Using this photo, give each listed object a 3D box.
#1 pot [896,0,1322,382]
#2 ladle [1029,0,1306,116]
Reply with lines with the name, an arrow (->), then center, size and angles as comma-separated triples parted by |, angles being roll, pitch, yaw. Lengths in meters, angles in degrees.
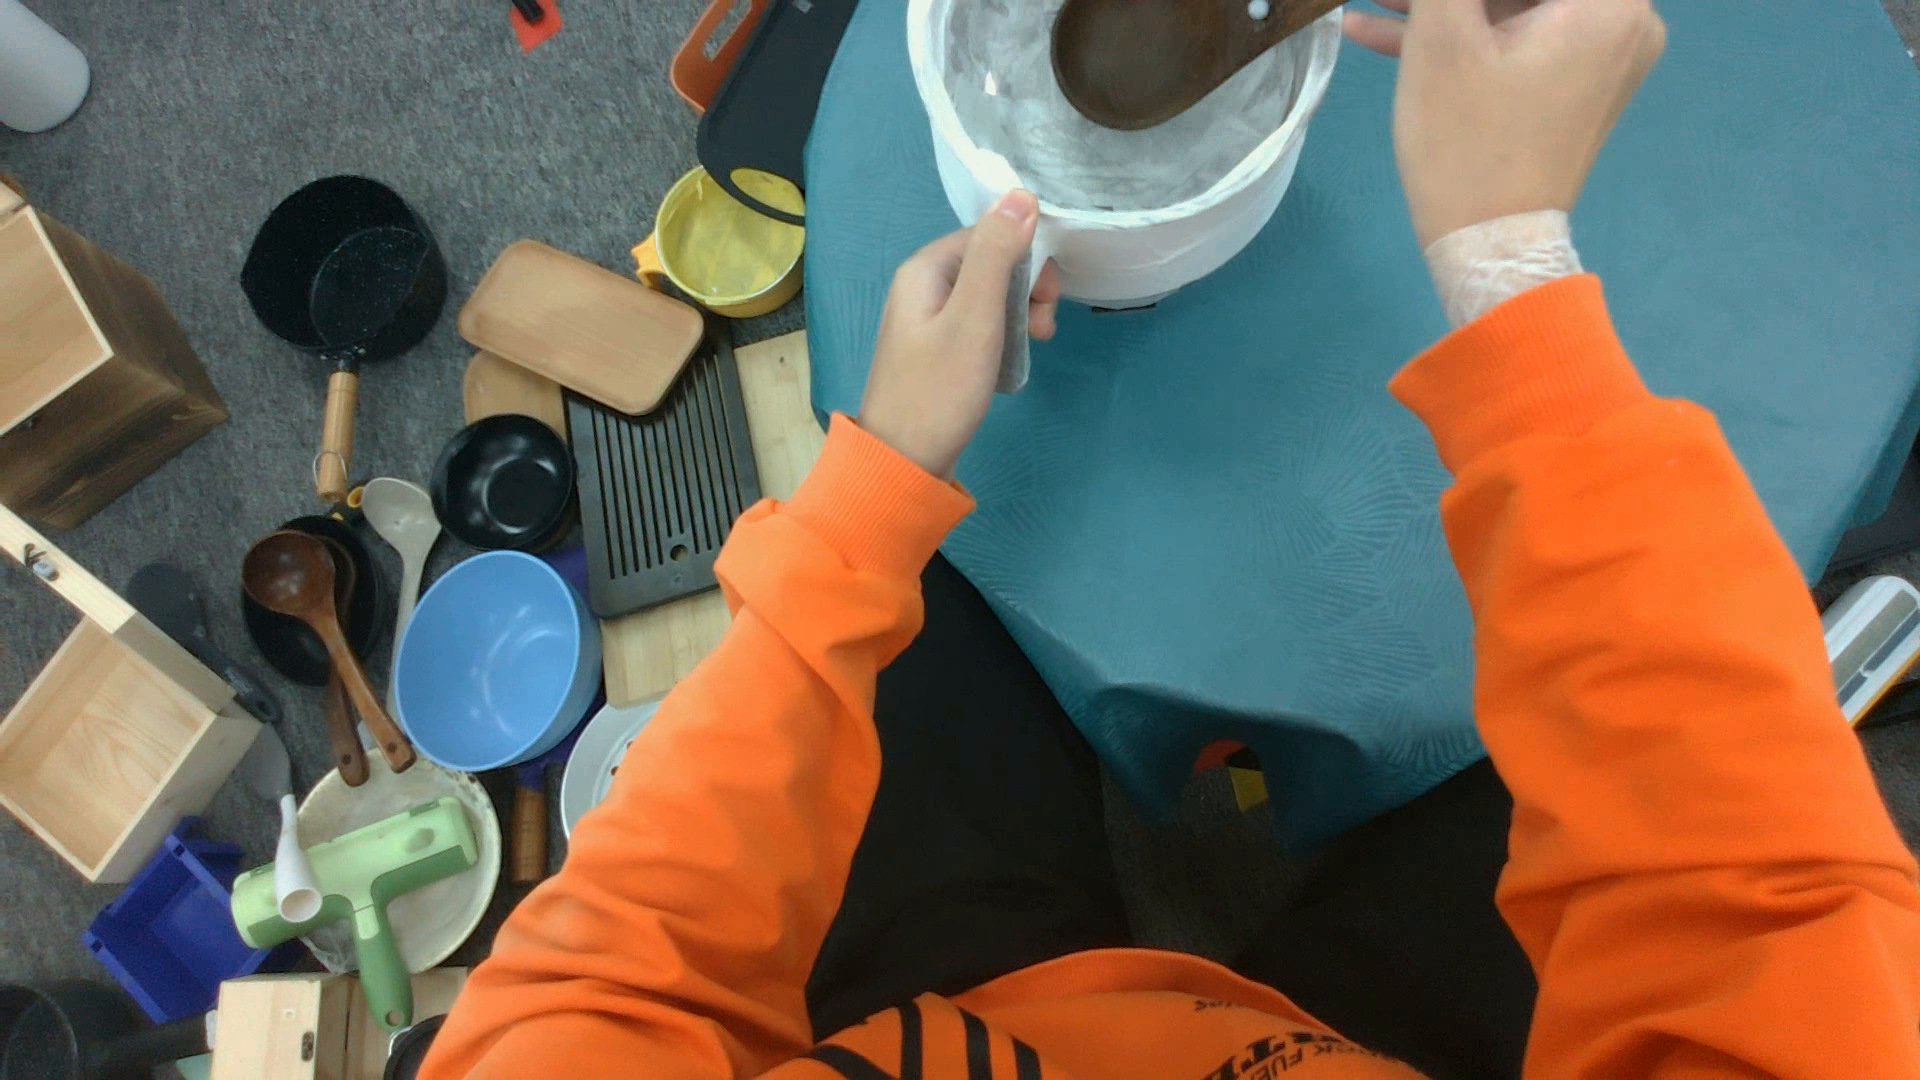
pot -> 0.055, -0.188, 0.631 | 0.178, 0.136, 0.234 | 24, 85, 8
ladle -> 0.131, -0.220, 0.508 | 0.071, 0.273, 0.076 | -1, 92, -35
